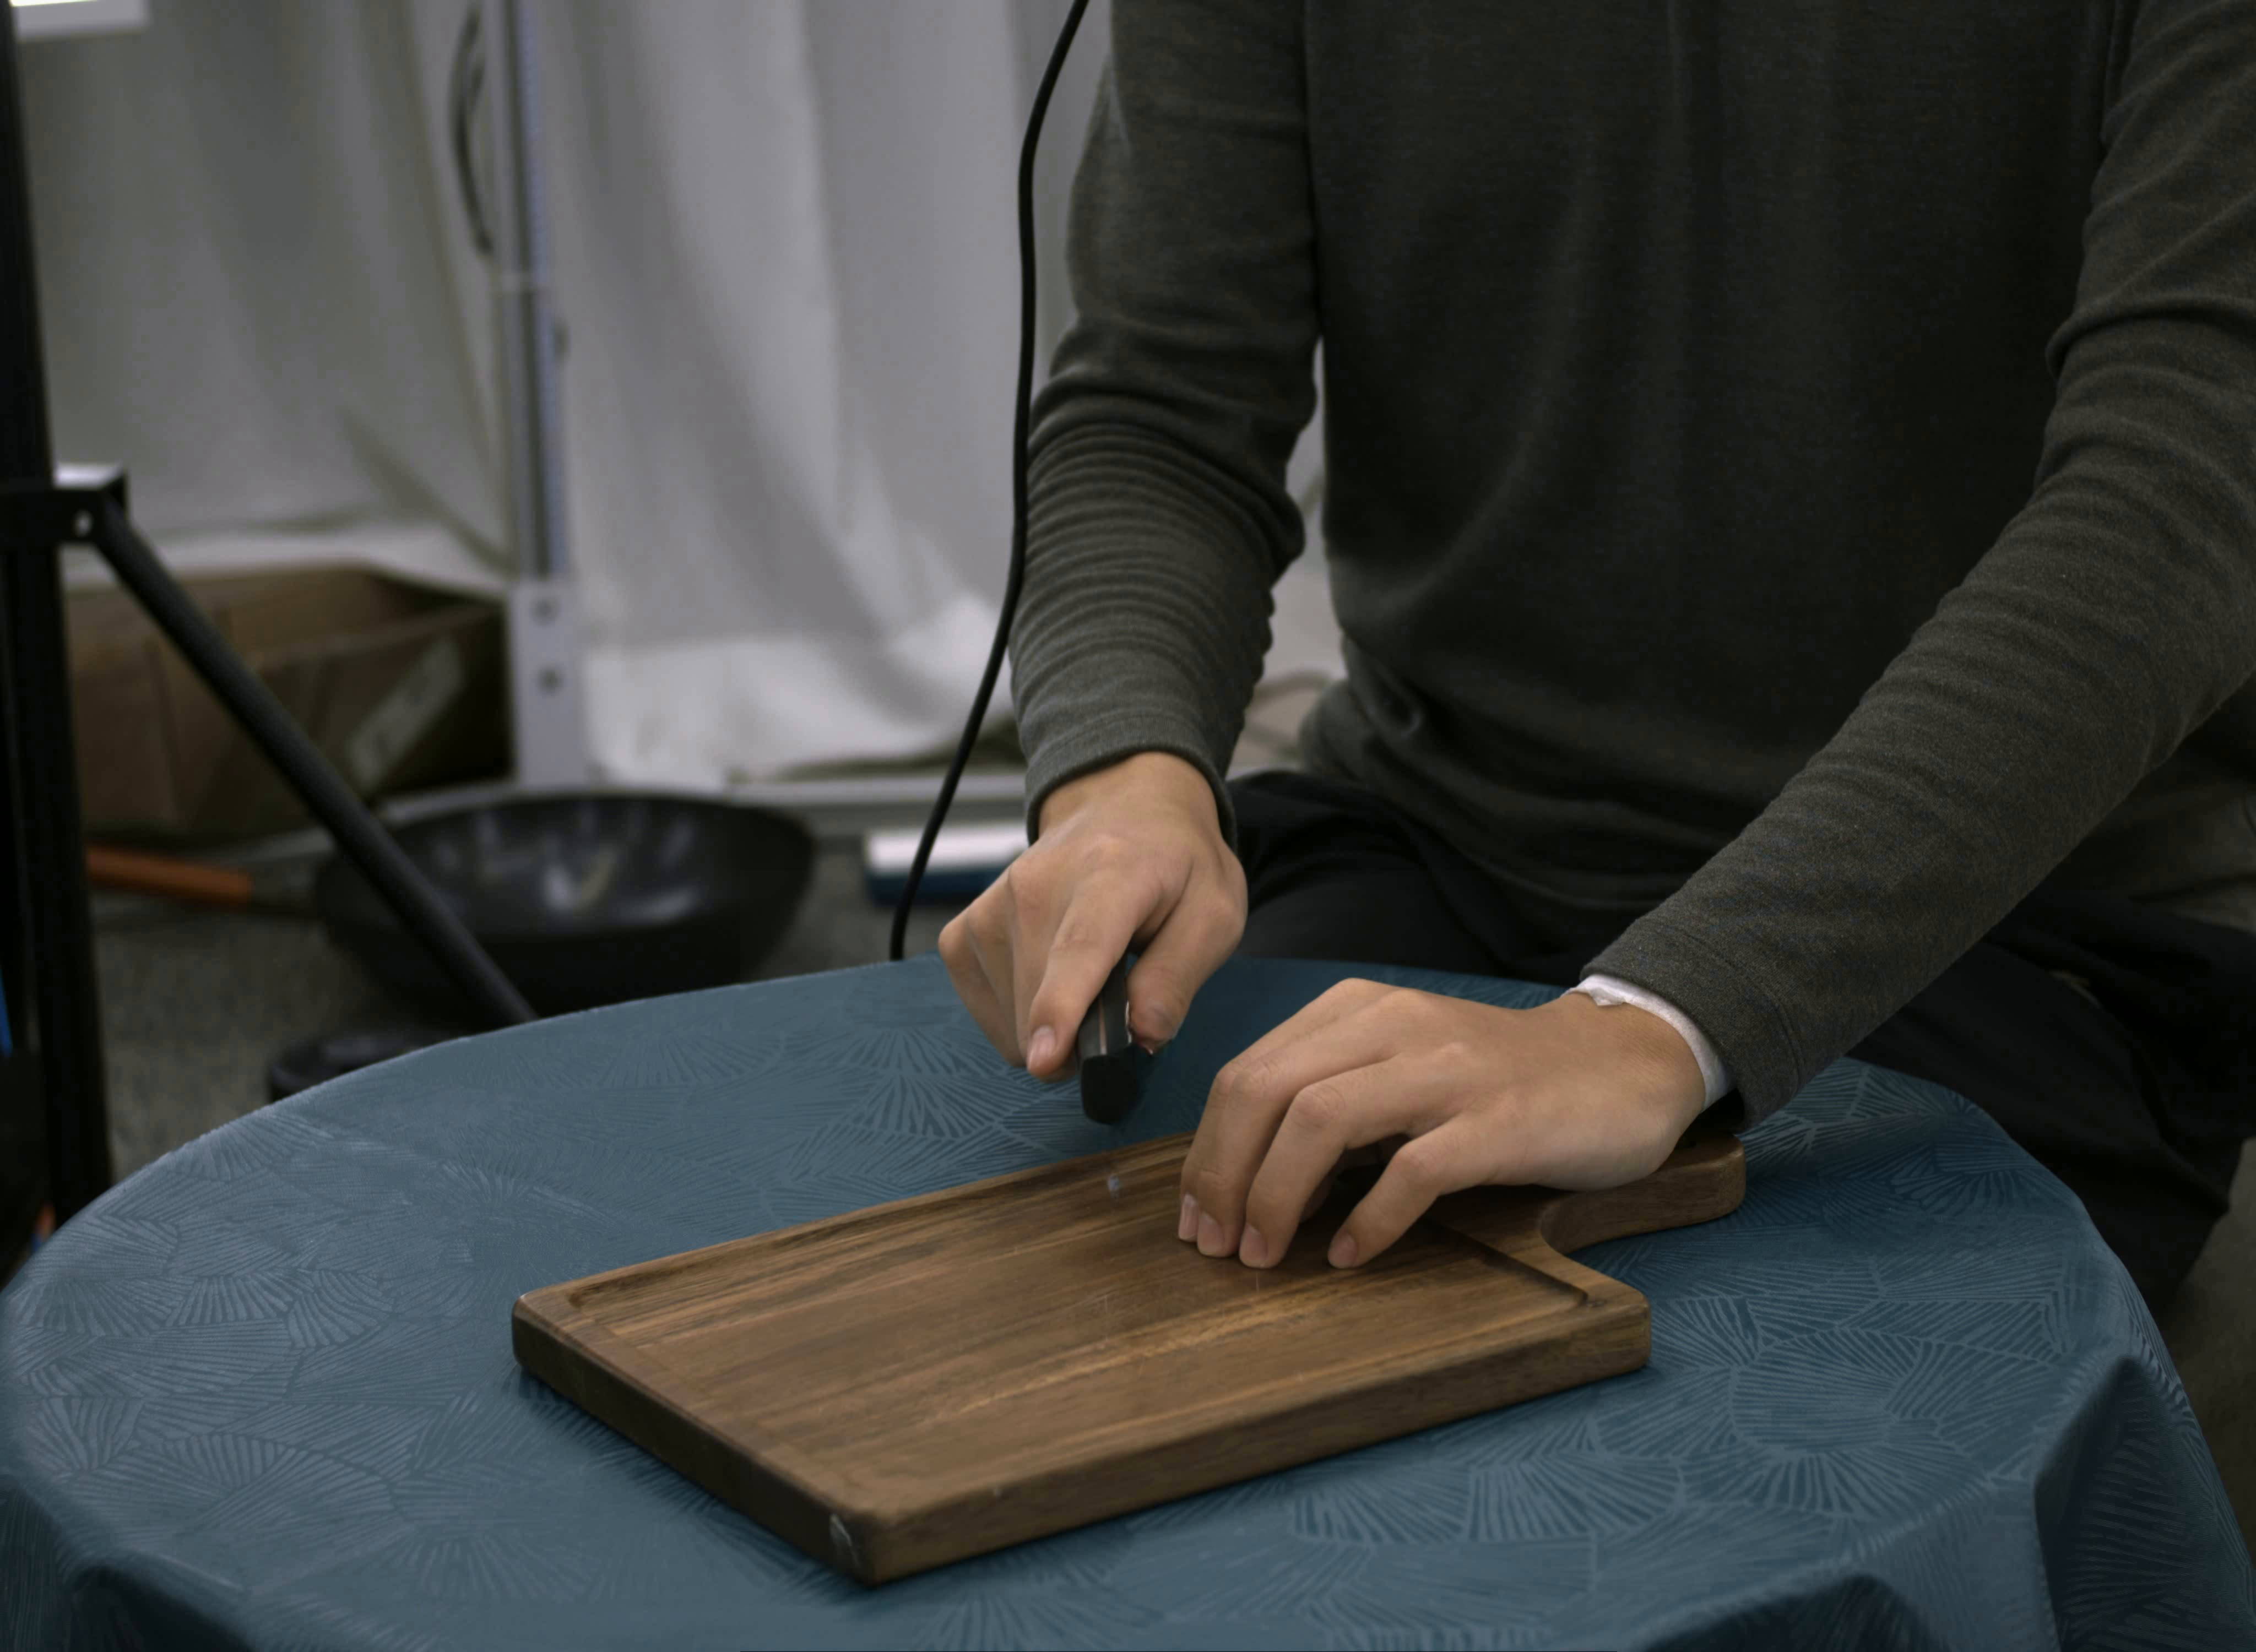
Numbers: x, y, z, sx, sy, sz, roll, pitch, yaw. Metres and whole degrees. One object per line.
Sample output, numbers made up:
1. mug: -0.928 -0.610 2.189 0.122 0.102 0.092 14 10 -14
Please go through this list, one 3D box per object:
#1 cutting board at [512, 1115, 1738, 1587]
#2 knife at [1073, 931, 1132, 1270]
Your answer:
1. cutting board: 0.029 0.127 1.452 0.344 0.023 0.205 -12 19 -30
2. knife: -0.005 0.073 1.473 0.016 0.024 0.239 -6 18 0
